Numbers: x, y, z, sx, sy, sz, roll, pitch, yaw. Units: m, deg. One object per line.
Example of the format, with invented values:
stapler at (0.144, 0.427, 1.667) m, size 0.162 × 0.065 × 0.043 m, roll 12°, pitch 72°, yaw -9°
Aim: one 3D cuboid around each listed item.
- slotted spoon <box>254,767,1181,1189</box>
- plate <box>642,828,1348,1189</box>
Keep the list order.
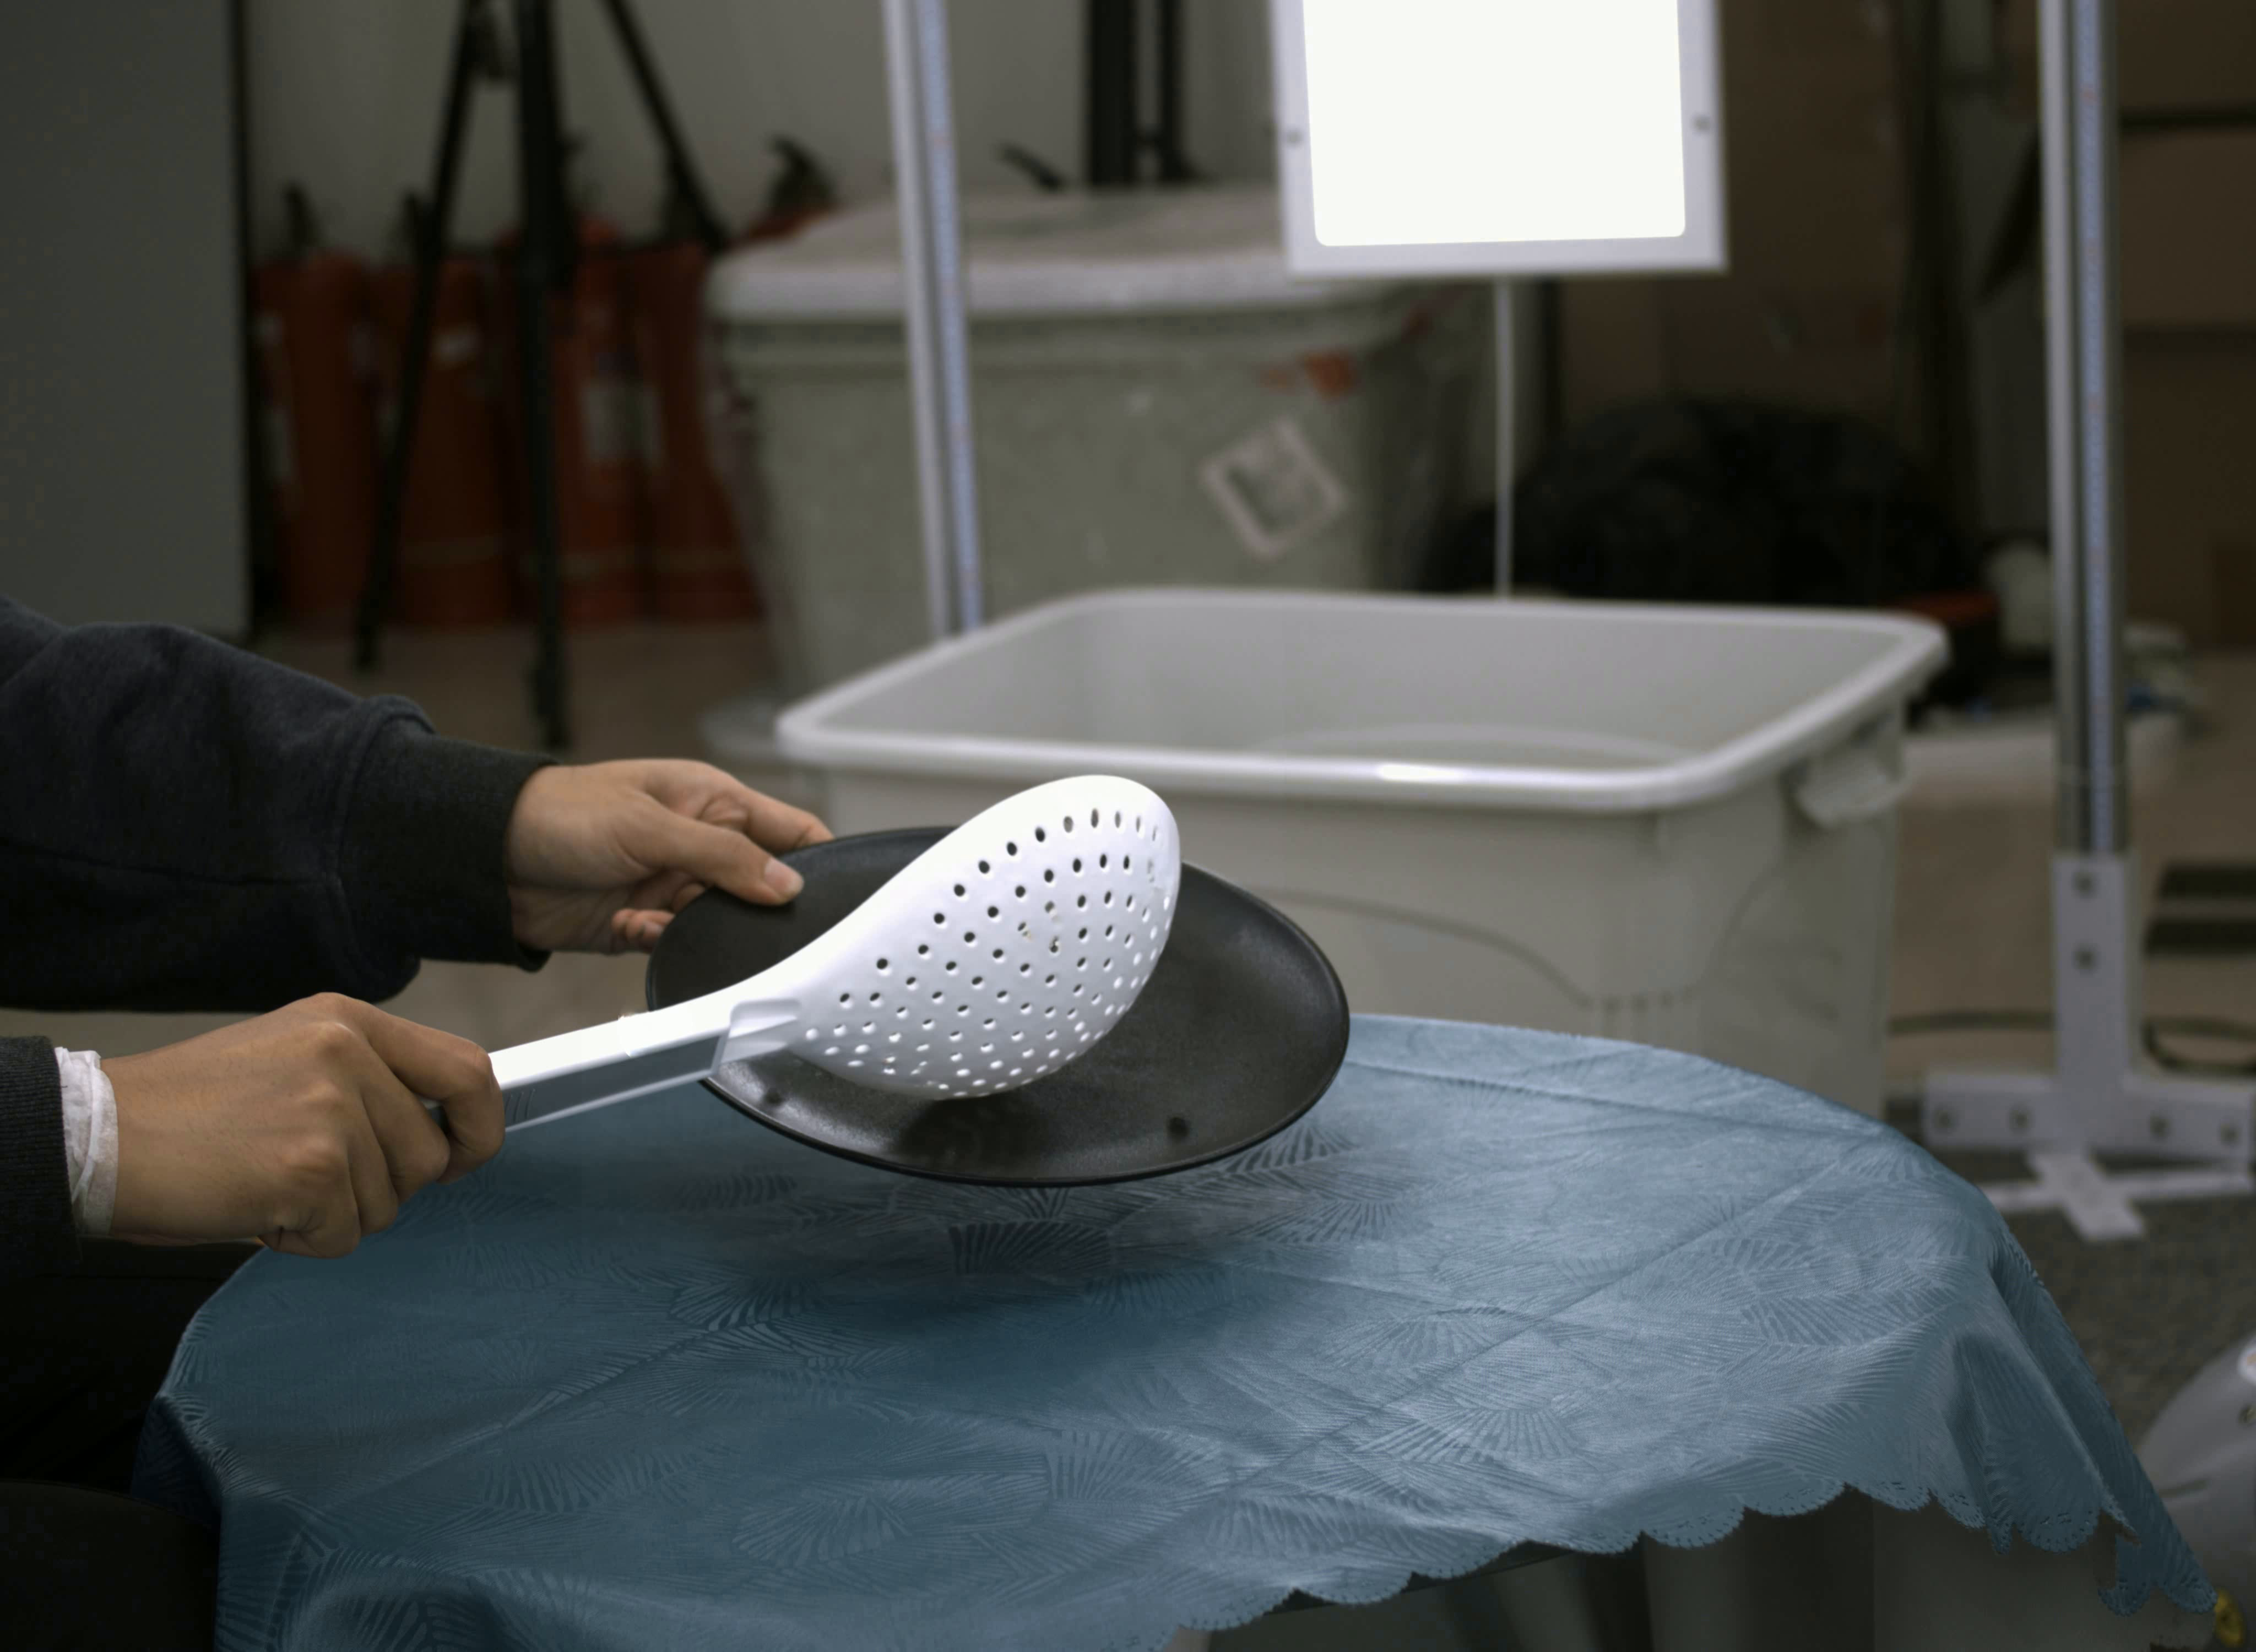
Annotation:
slotted spoon at (-0.121, 0.062, 1.756) m, size 0.342 × 0.137 × 0.046 m, roll -10°, pitch 44°, yaw -29°
plate at (-0.046, 0.067, 1.897) m, size 0.243 × 0.023 × 0.244 m, roll 3°, pitch 28°, yaw -3°
